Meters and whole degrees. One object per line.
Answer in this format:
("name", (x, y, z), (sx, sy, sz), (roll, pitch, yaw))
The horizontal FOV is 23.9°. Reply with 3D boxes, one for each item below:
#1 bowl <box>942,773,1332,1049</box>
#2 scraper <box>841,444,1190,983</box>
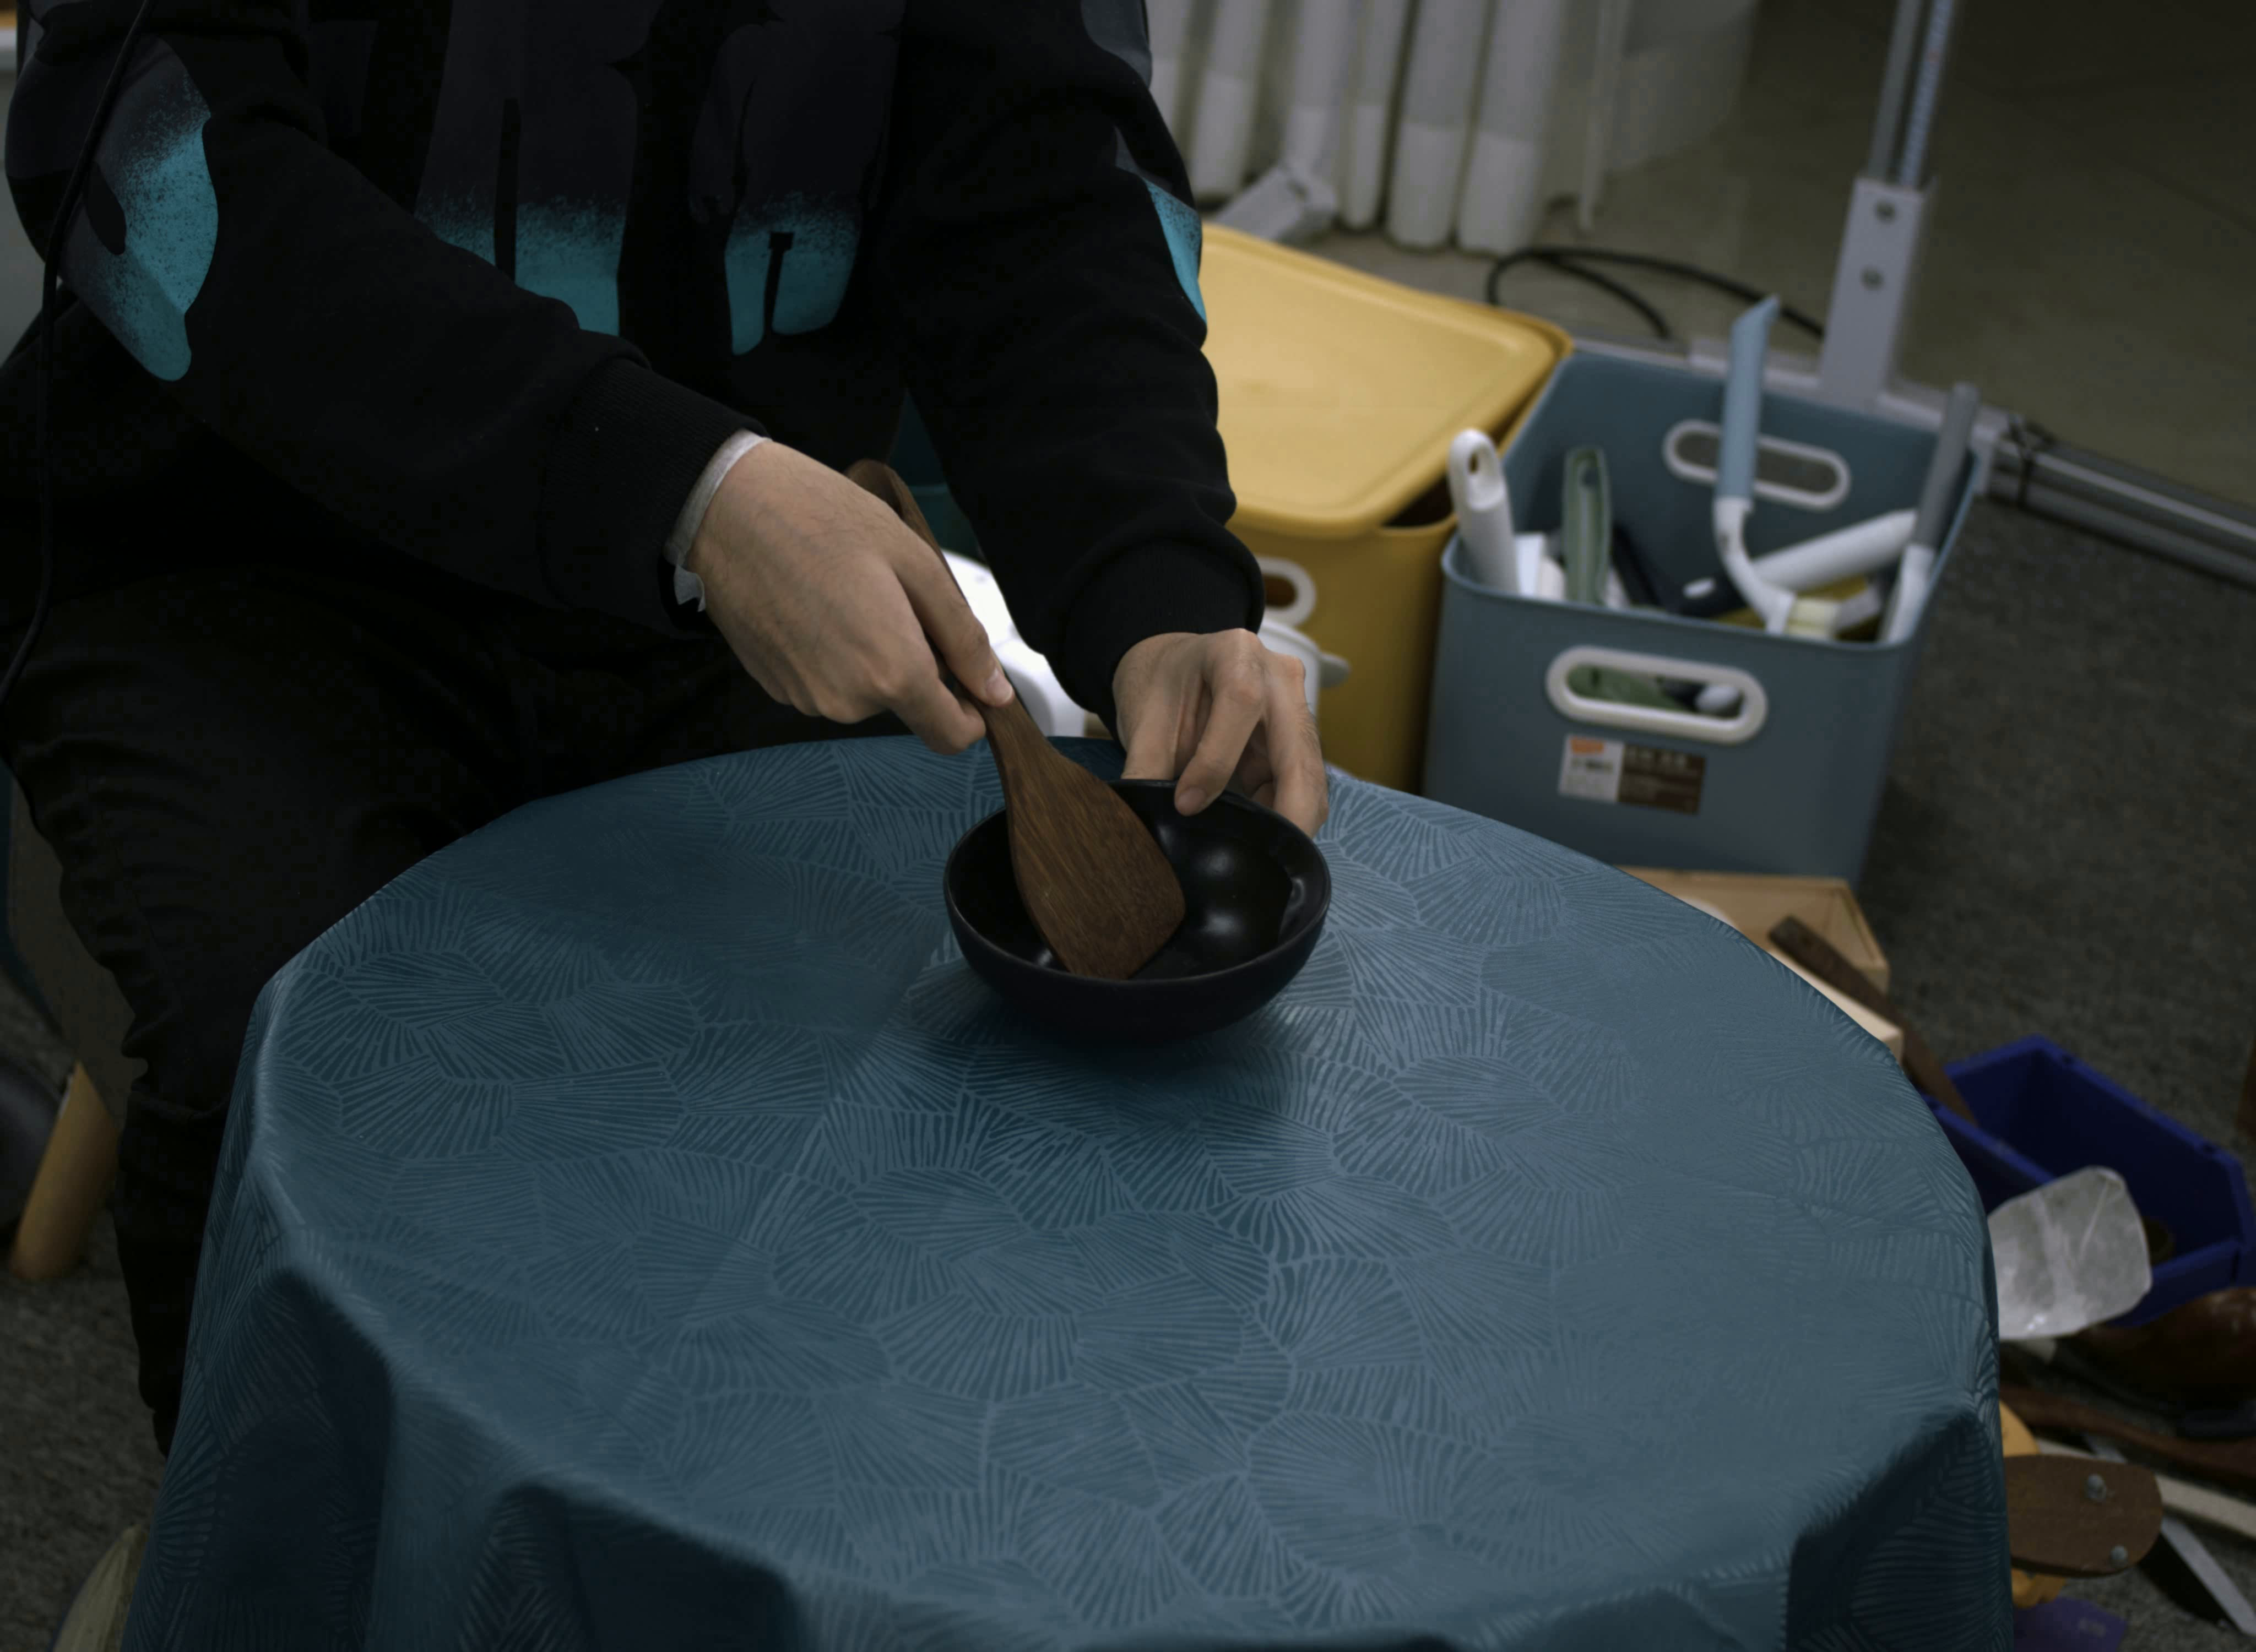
("bowl", (0.004, 0.039, 1.901), (0.139, 0.049, 0.141), (-1, 33, 0))
("scraper", (-0.046, -0.042, 1.906), (0.011, 0.211, 0.076), (-19, 15, 44))
